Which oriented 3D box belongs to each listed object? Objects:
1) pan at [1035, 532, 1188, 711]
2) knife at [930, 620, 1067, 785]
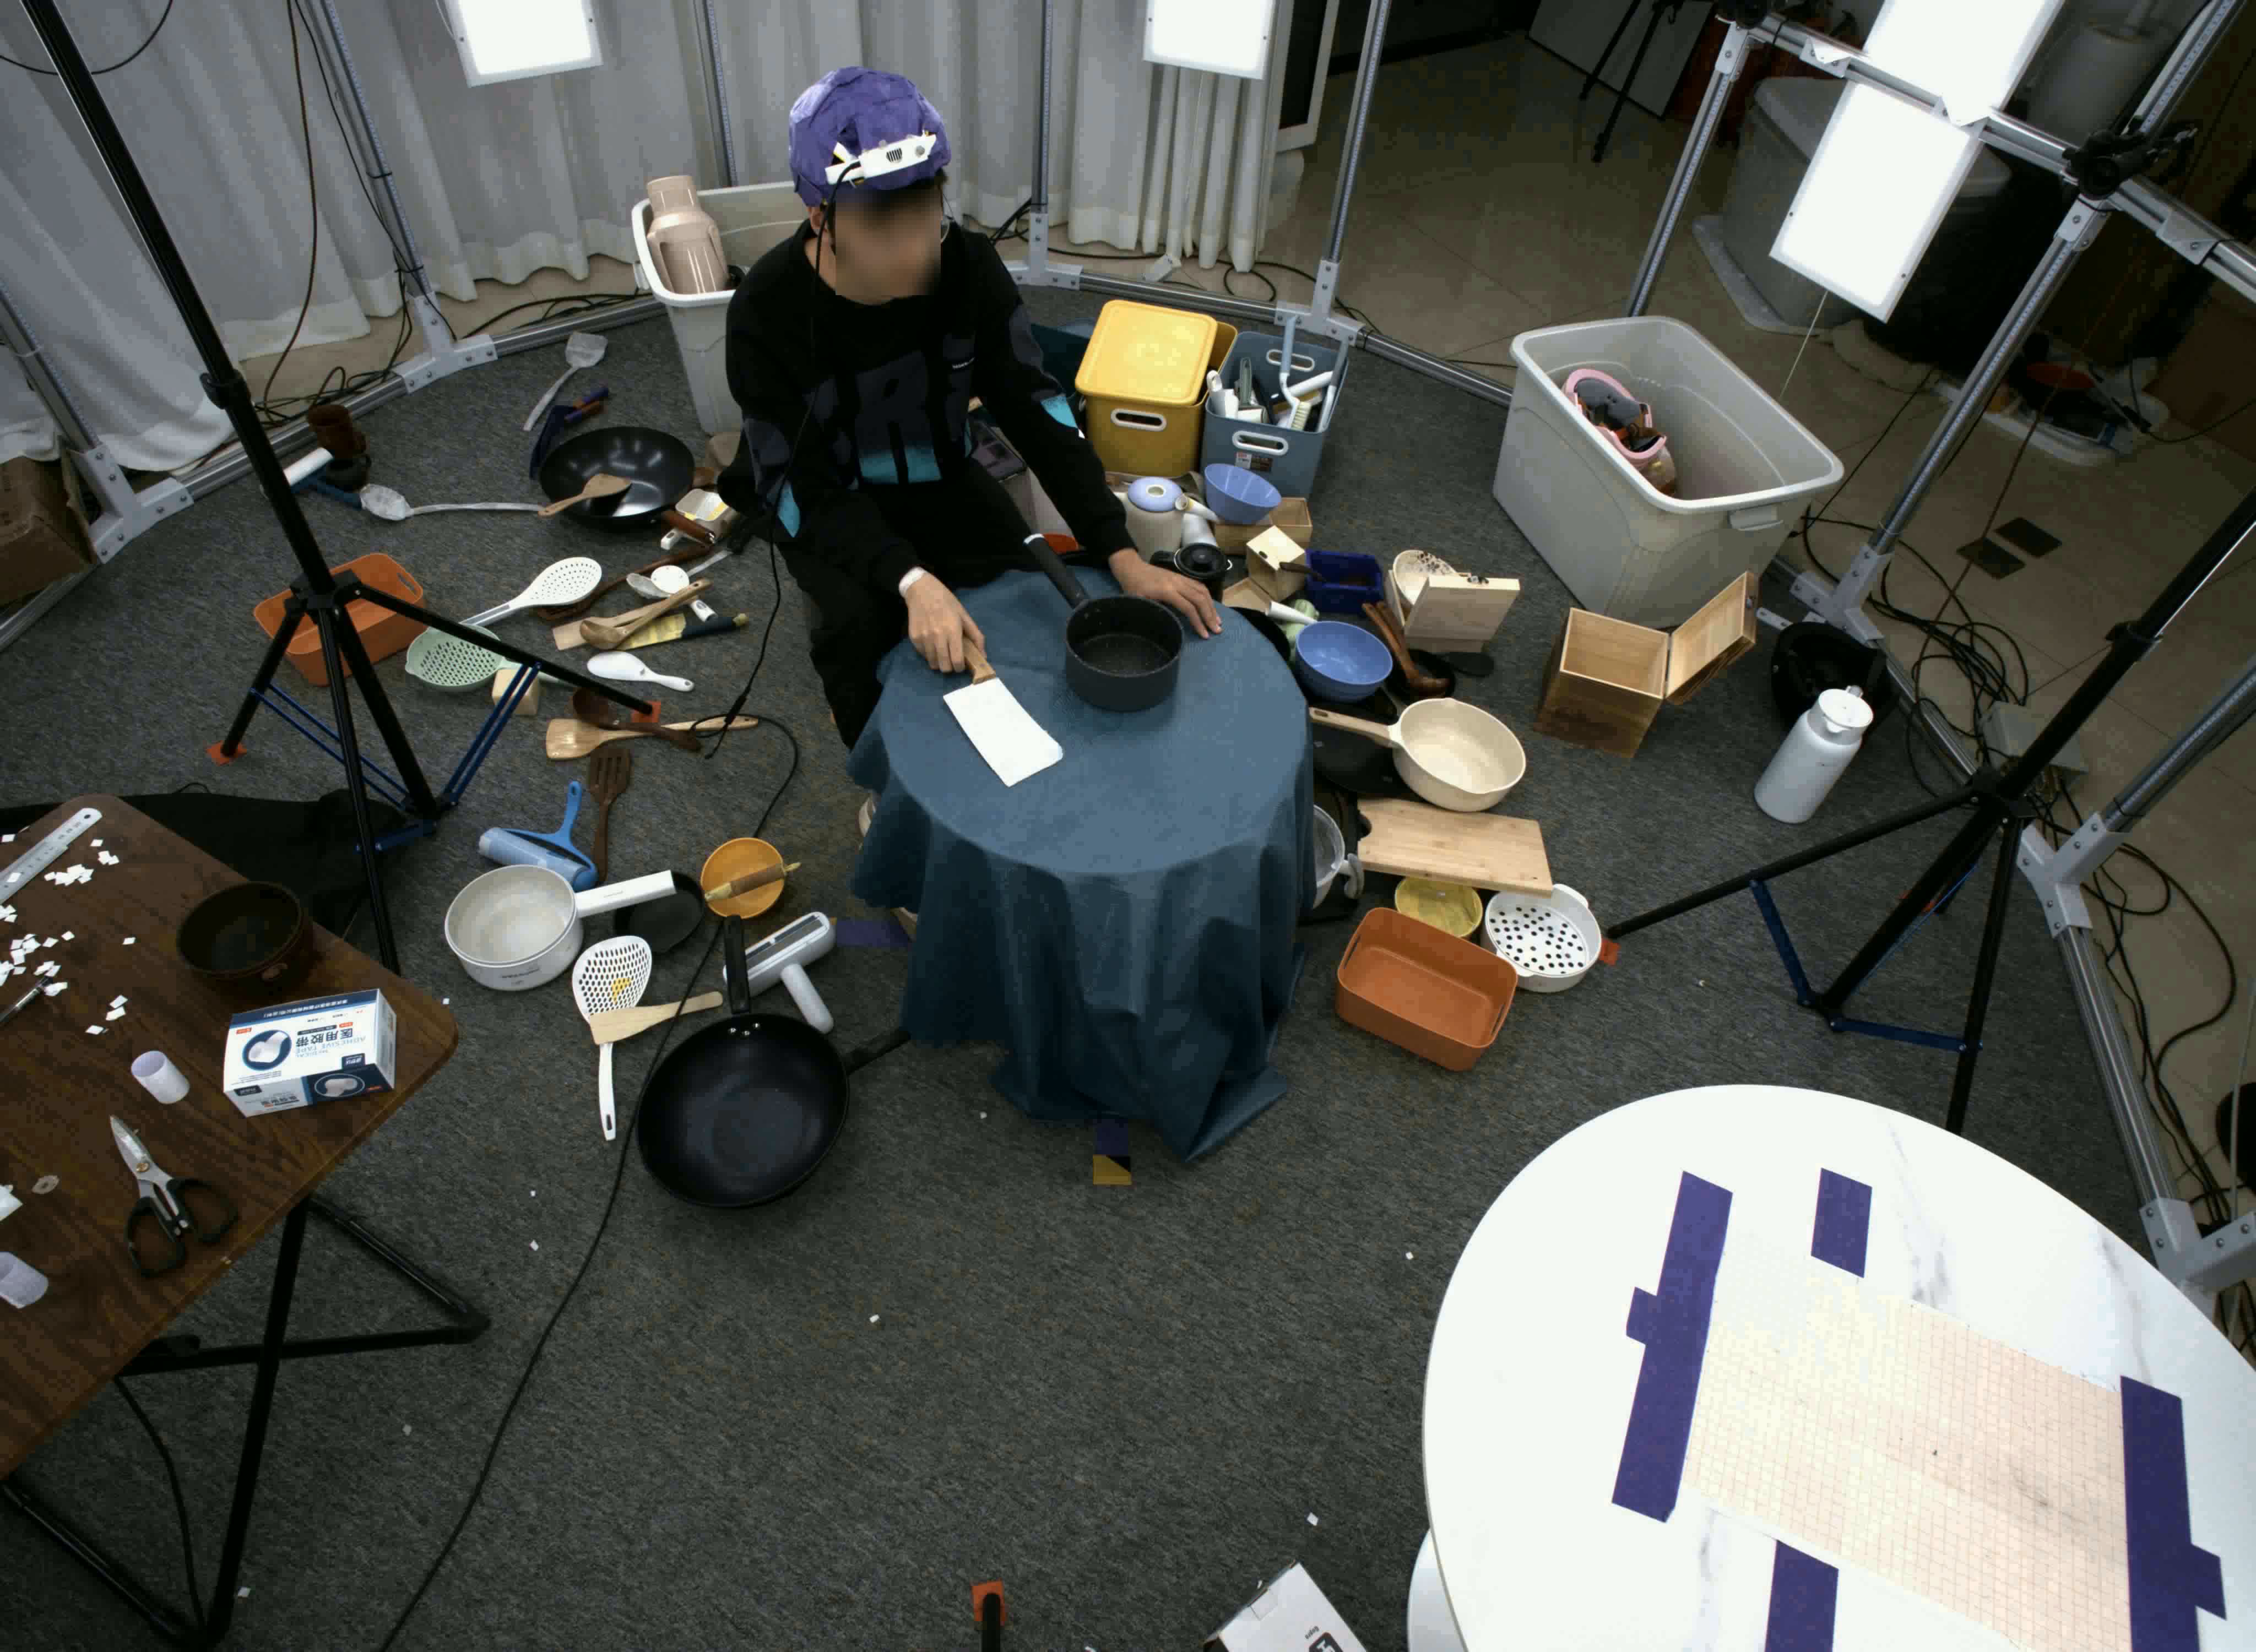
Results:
[{"bbox_3d":[-0.045,-0.301,1.873,0.172,0.084,0.335,-22,55,-24],"label":"pan"},{"bbox_3d":[-0.194,-0.180,1.800,0.114,0.021,0.322,-21,56,-20],"label":"knife"}]
